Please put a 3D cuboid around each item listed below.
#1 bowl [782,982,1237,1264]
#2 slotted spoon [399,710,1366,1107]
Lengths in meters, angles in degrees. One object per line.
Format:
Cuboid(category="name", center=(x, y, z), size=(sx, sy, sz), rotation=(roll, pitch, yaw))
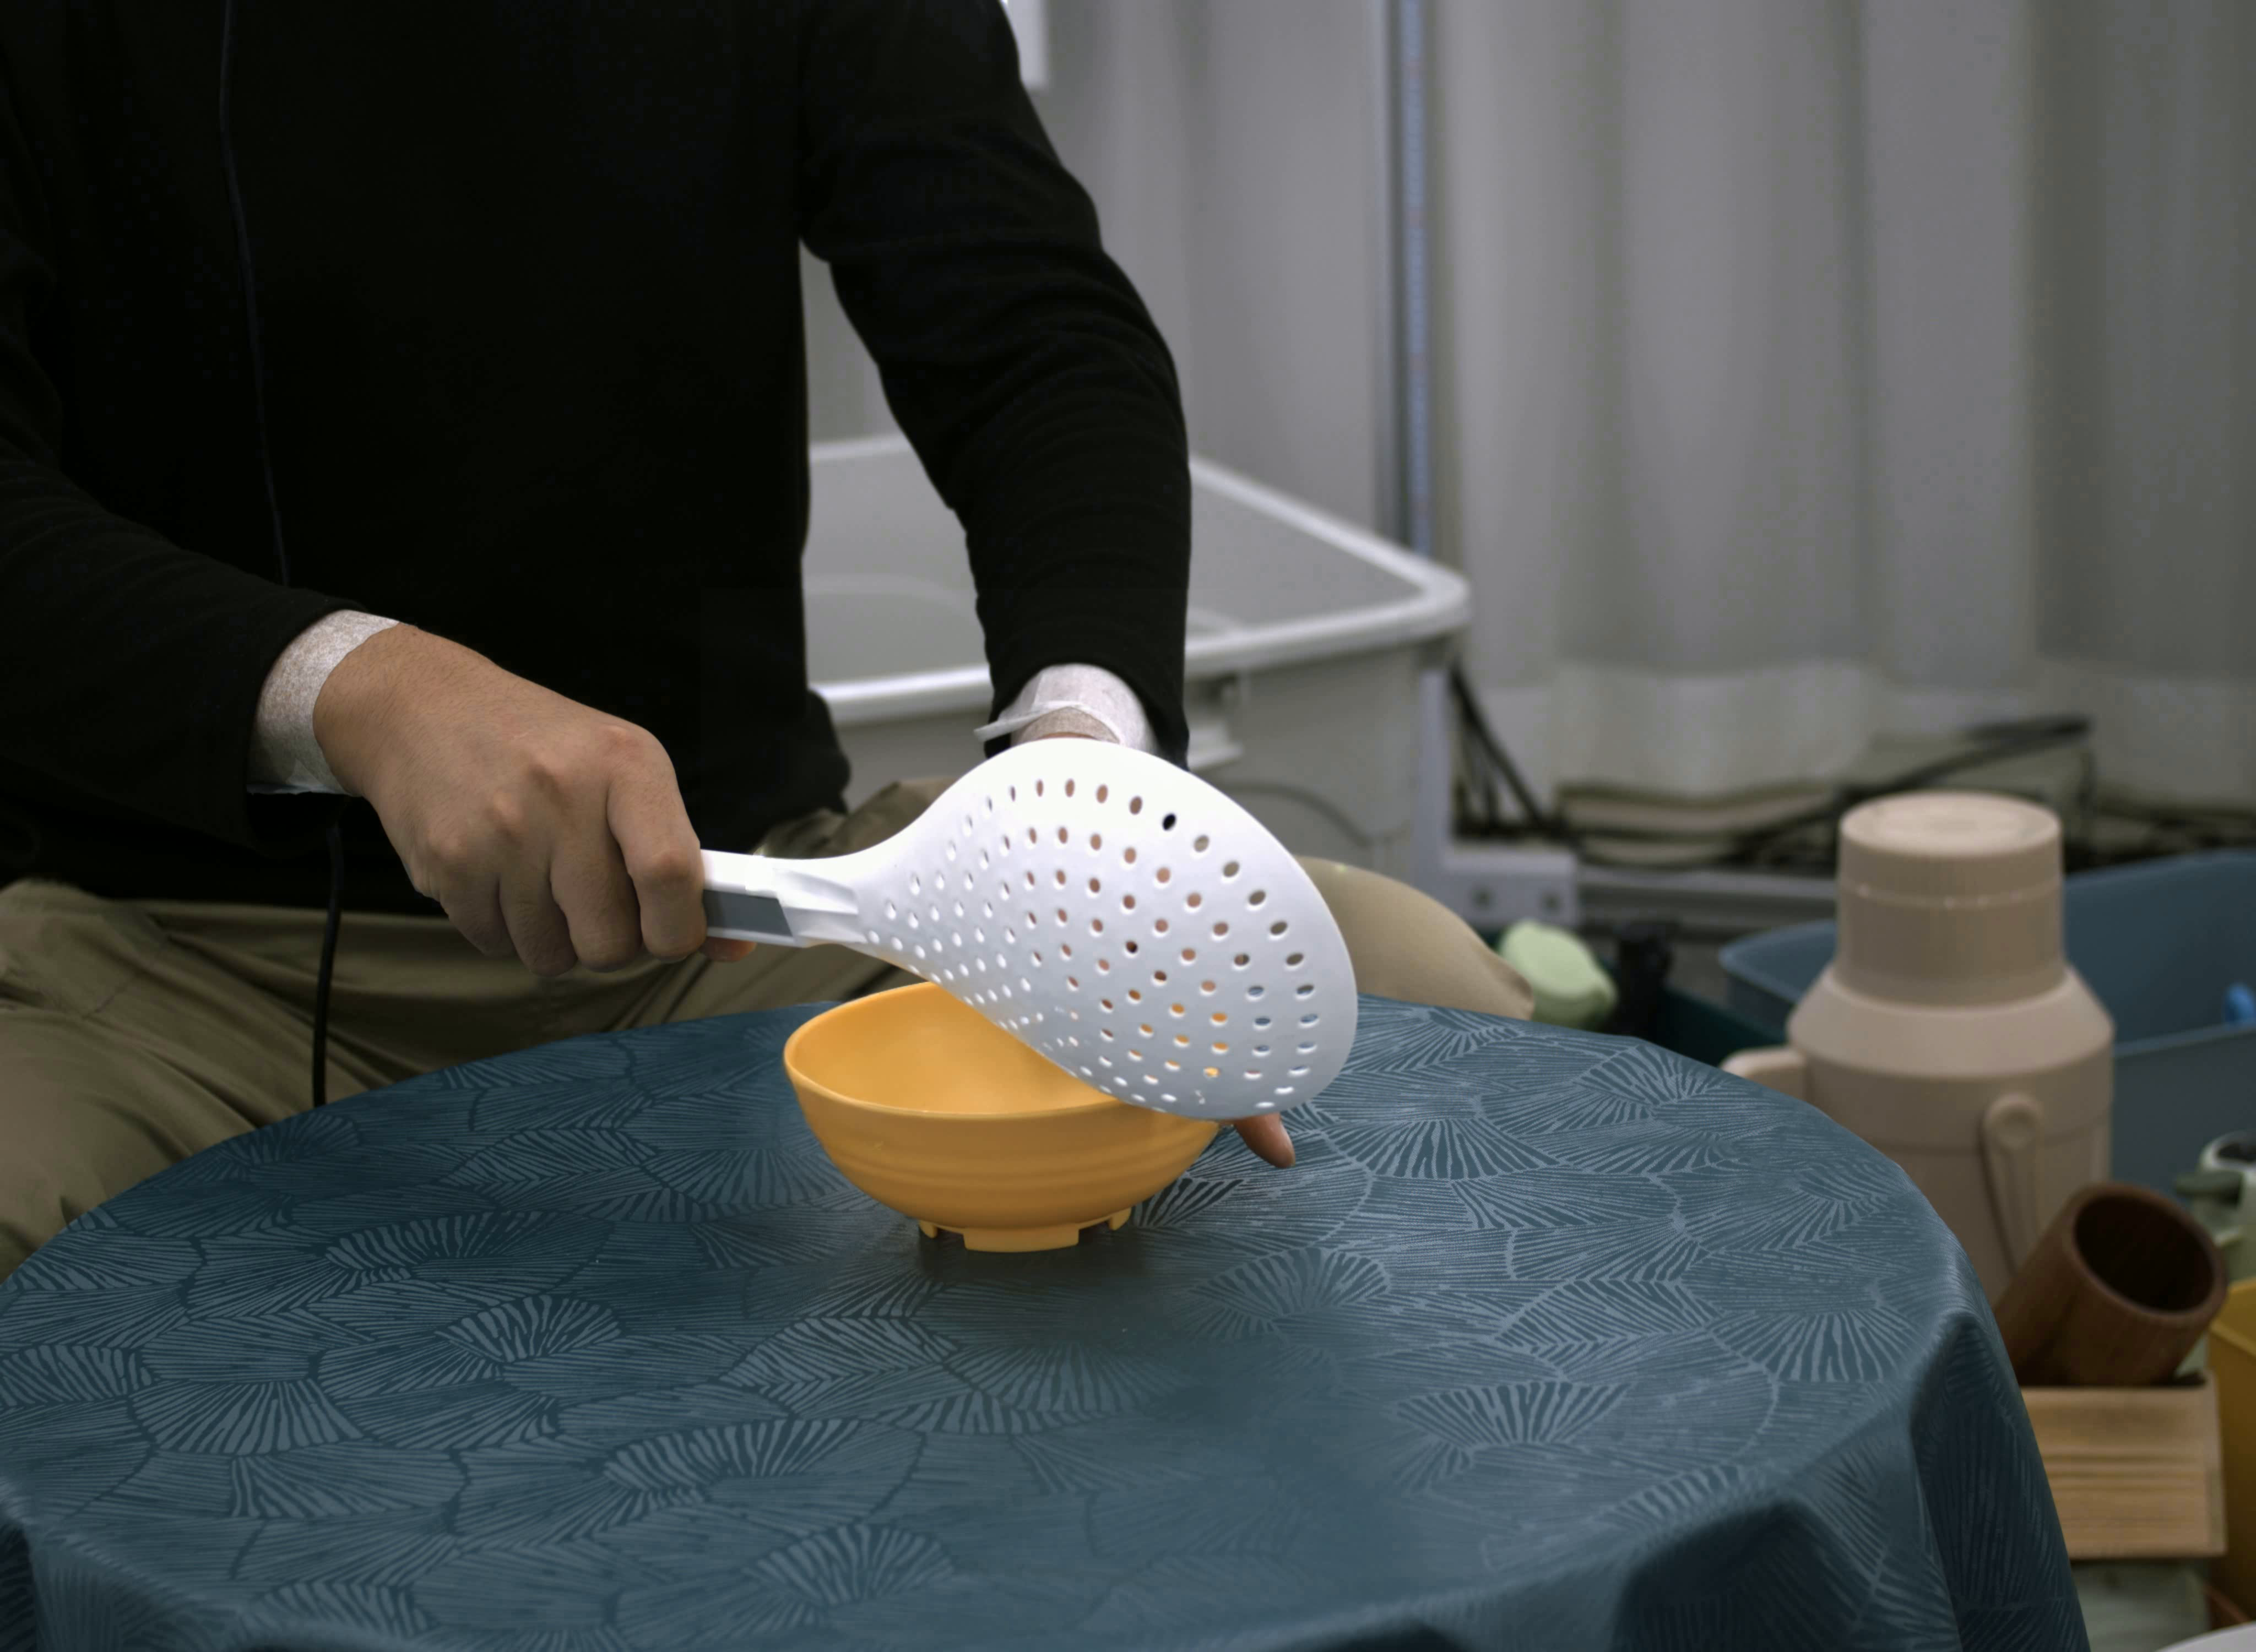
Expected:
Cuboid(category="bowl", center=(-0.035, 0.096, 1.689), size=(0.145, 0.060, 0.146), rotation=(0, 14, 0))
Cuboid(category="slotted spoon", center=(-0.083, 0.021, 1.635), size=(0.351, 0.134, 0.046), rotation=(8, 37, 39))
